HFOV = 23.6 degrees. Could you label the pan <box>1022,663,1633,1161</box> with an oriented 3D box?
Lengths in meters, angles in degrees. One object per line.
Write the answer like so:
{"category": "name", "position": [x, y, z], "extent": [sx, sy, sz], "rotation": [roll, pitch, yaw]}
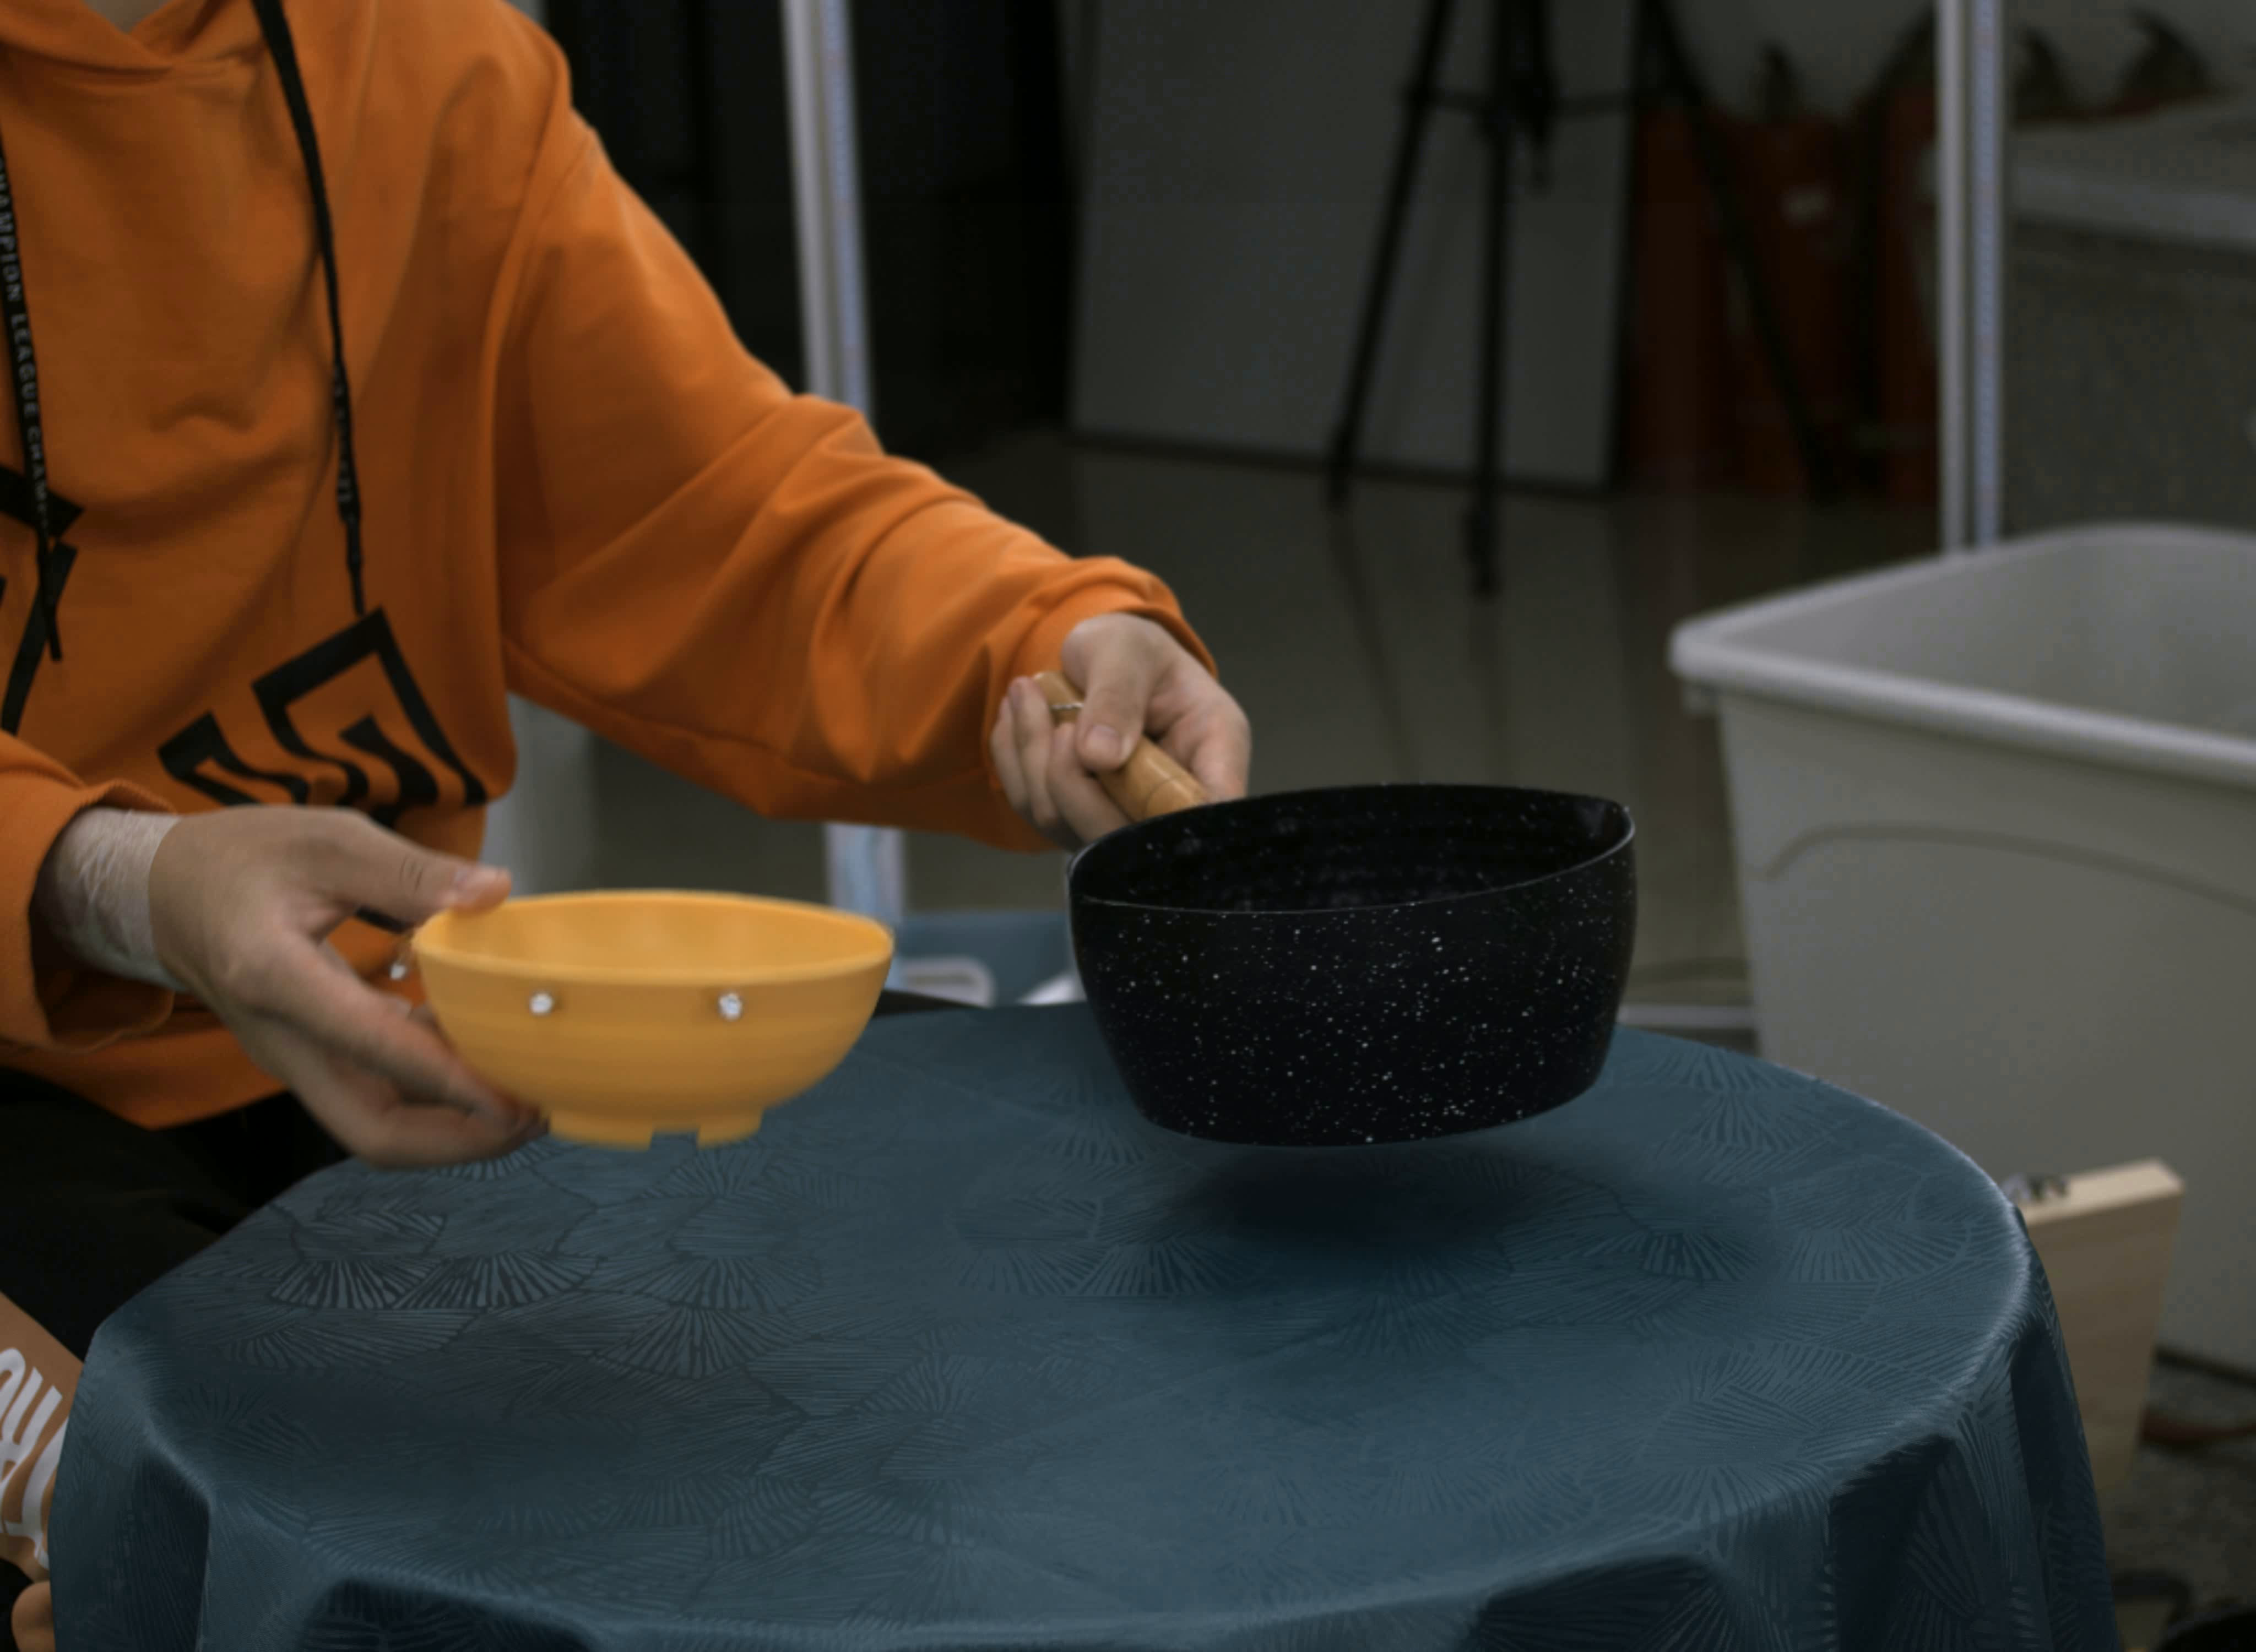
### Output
{"category": "pan", "position": [0.039, 0.022, 1.807], "extent": [0.203, 0.109, 0.346], "rotation": [-12, 14, -22]}

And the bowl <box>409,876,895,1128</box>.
{"category": "bowl", "position": [-0.141, 0.054, 1.596], "extent": [0.143, 0.061, 0.145], "rotation": [2, 6, -1]}
